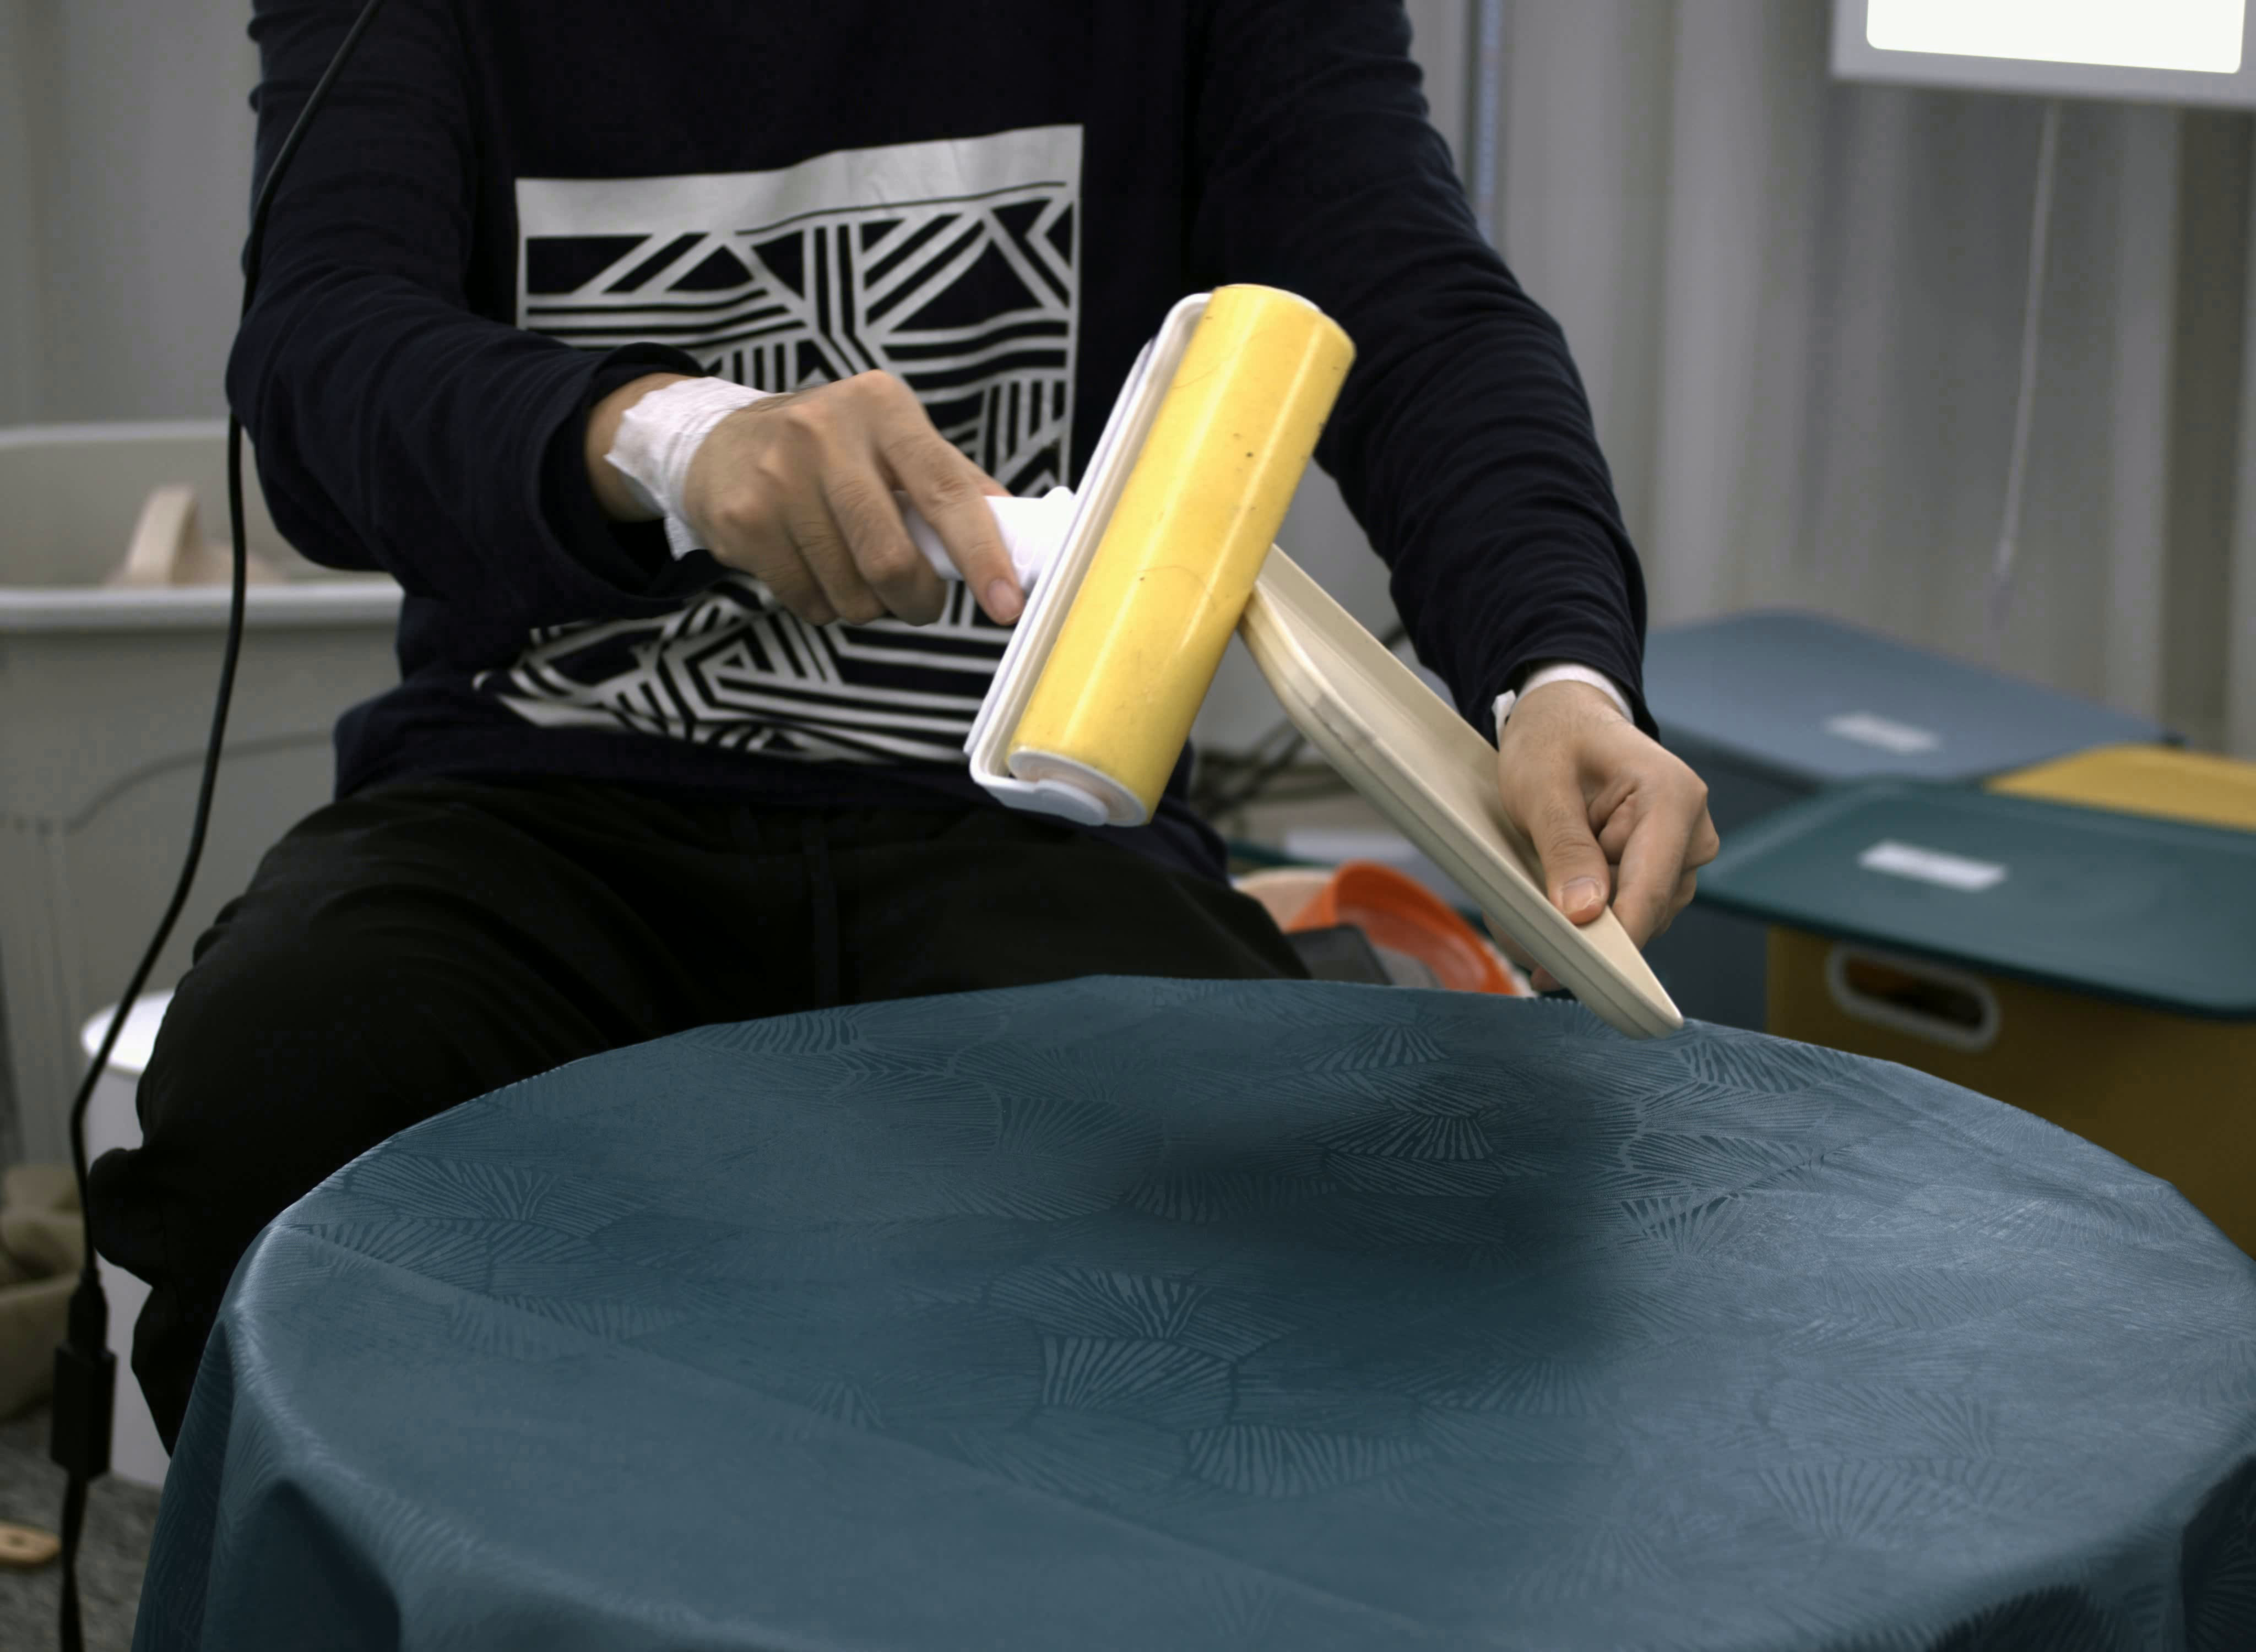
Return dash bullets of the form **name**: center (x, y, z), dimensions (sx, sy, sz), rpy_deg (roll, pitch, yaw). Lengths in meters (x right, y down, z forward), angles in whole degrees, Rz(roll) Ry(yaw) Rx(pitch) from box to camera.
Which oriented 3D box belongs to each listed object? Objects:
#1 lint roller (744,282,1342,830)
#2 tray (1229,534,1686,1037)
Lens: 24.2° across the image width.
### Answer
- **lint roller**: center (-0.046, -0.090, 1.590), dimensions (0.190, 0.174, 0.052), rpy_deg (11, -21, 30)
- **tray**: center (0.087, -0.023, 1.613), dimensions (0.173, 0.017, 0.237), rpy_deg (43, 8, -20)
